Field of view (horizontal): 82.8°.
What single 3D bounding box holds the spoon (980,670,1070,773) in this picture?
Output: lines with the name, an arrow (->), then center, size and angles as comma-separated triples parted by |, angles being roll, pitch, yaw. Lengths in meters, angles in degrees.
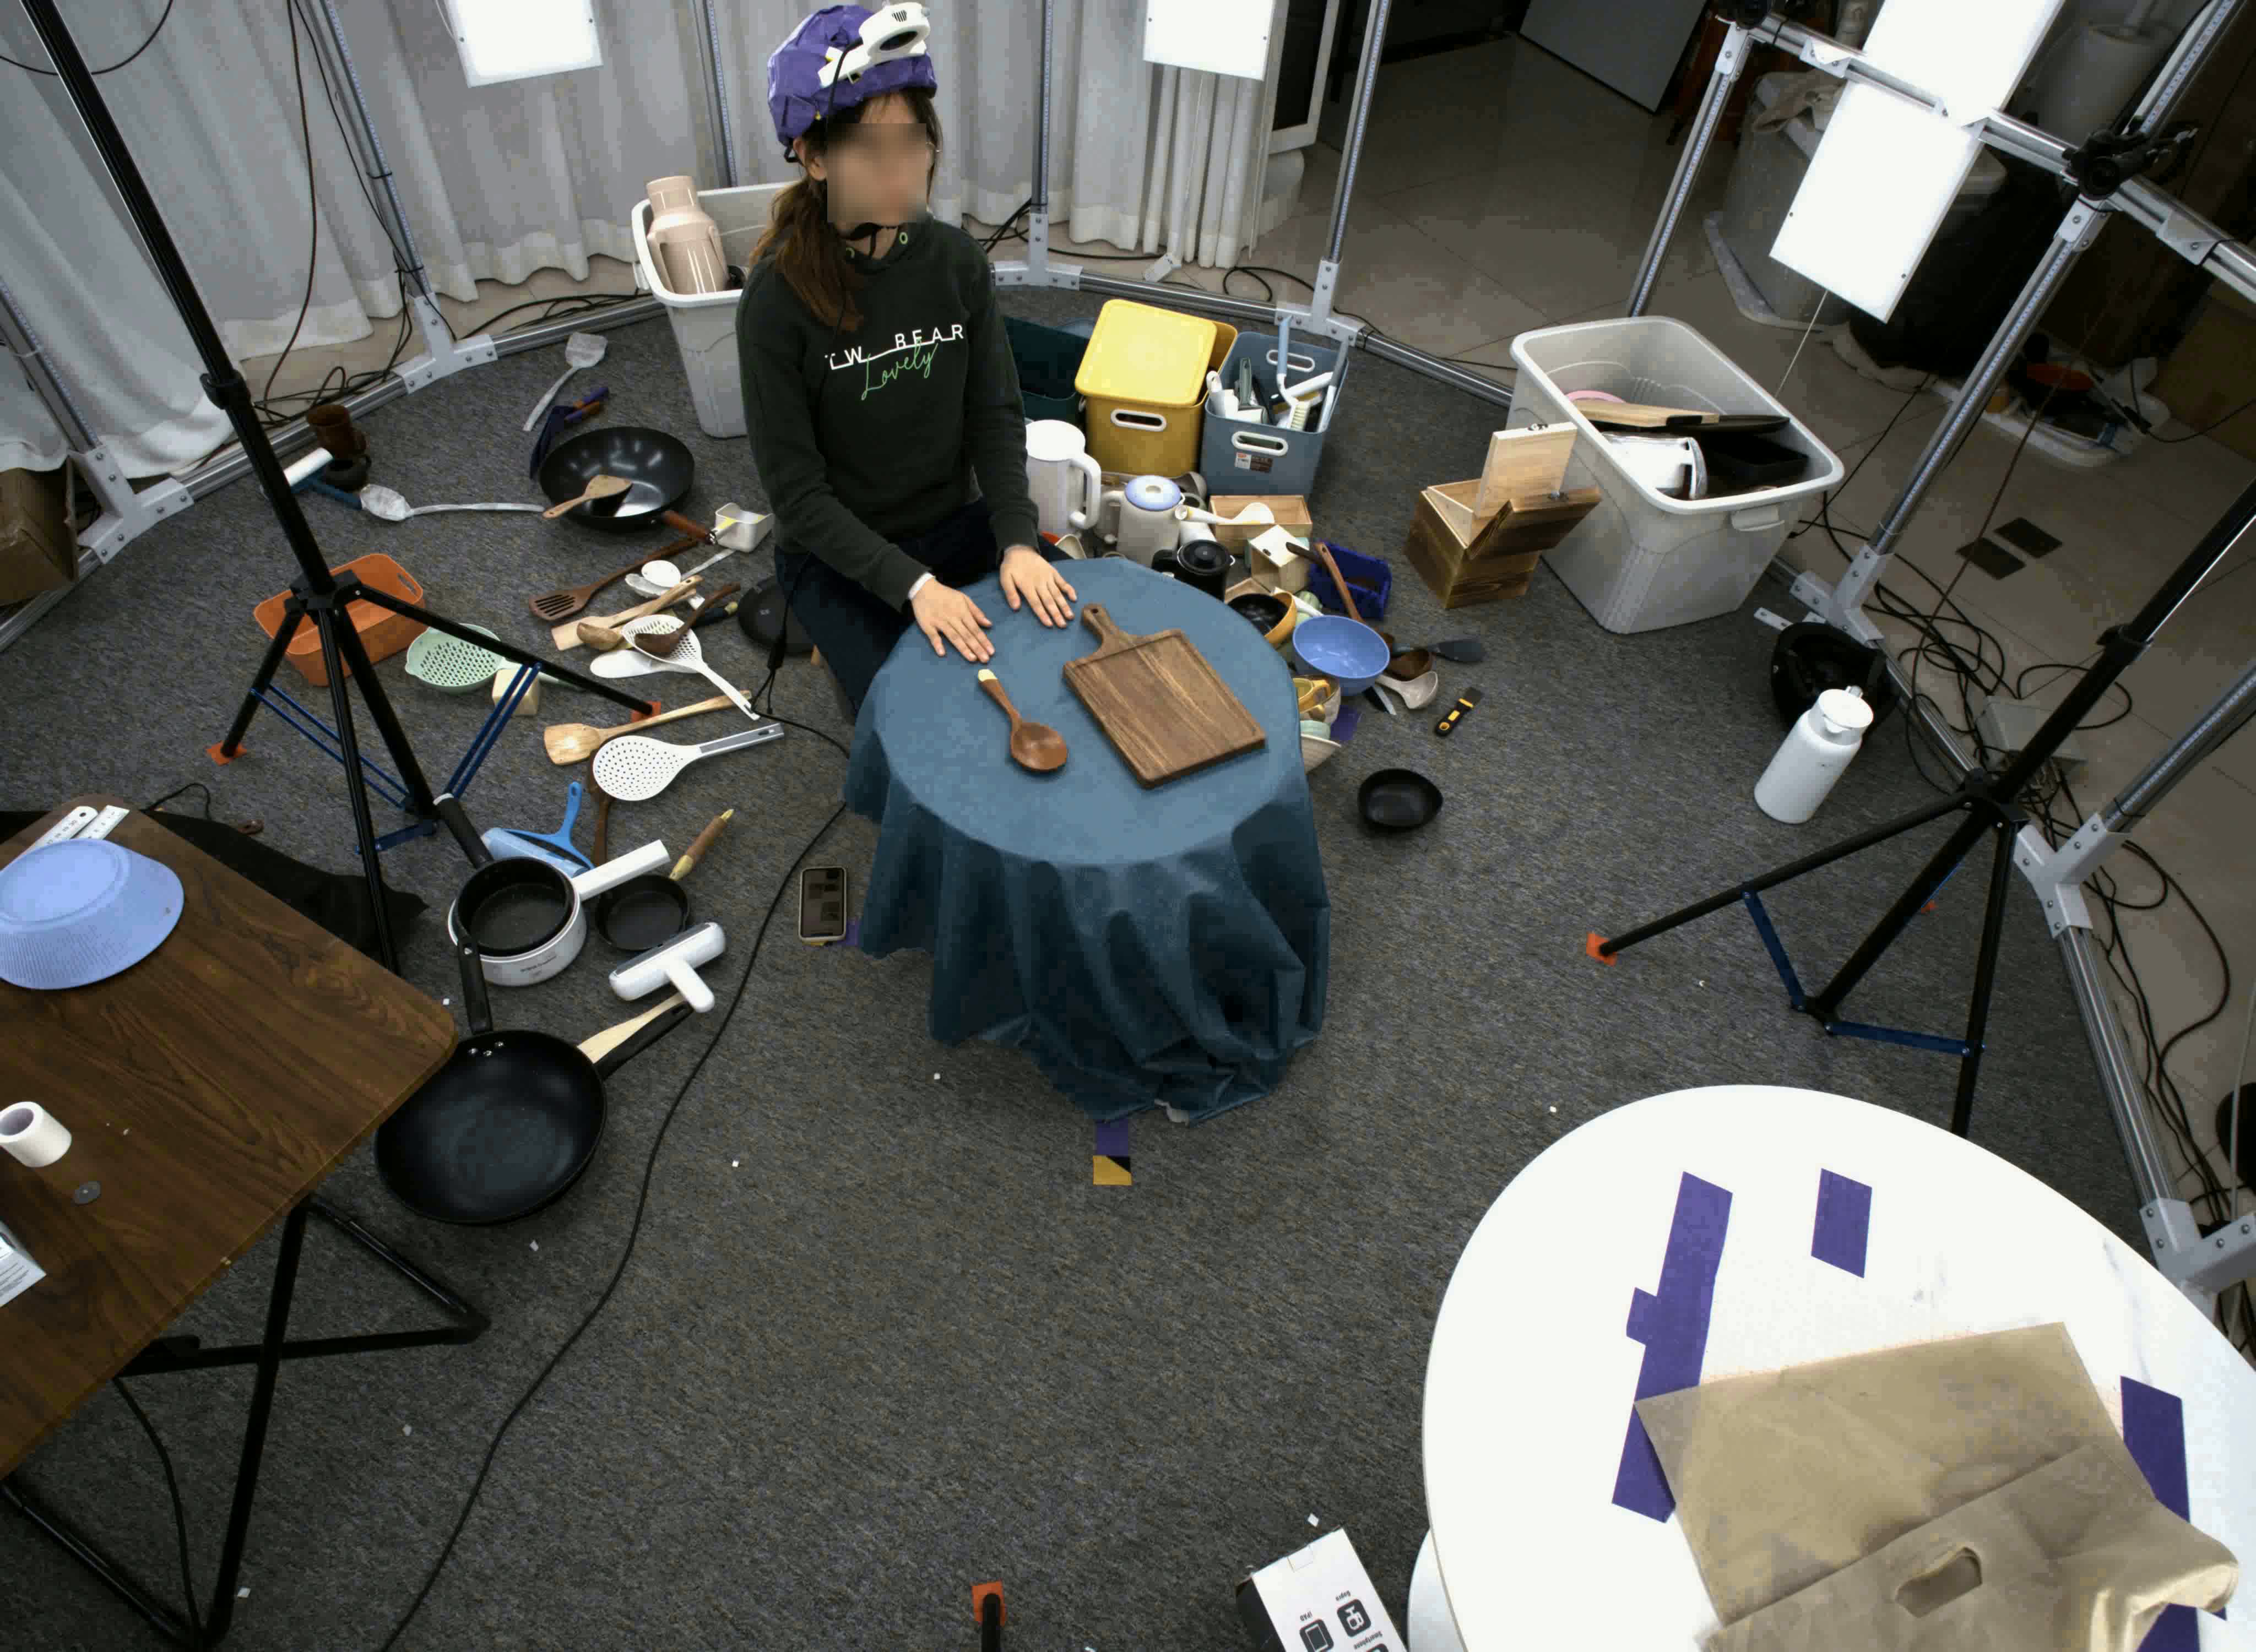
spoon -> -0.151, -0.147, 1.791 | 0.076, 0.017, 0.220 | -23, 55, -20

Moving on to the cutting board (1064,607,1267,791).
cutting board -> 0.027, -0.205, 1.853 | 0.201, 0.022, 0.360 | -21, 53, -20
